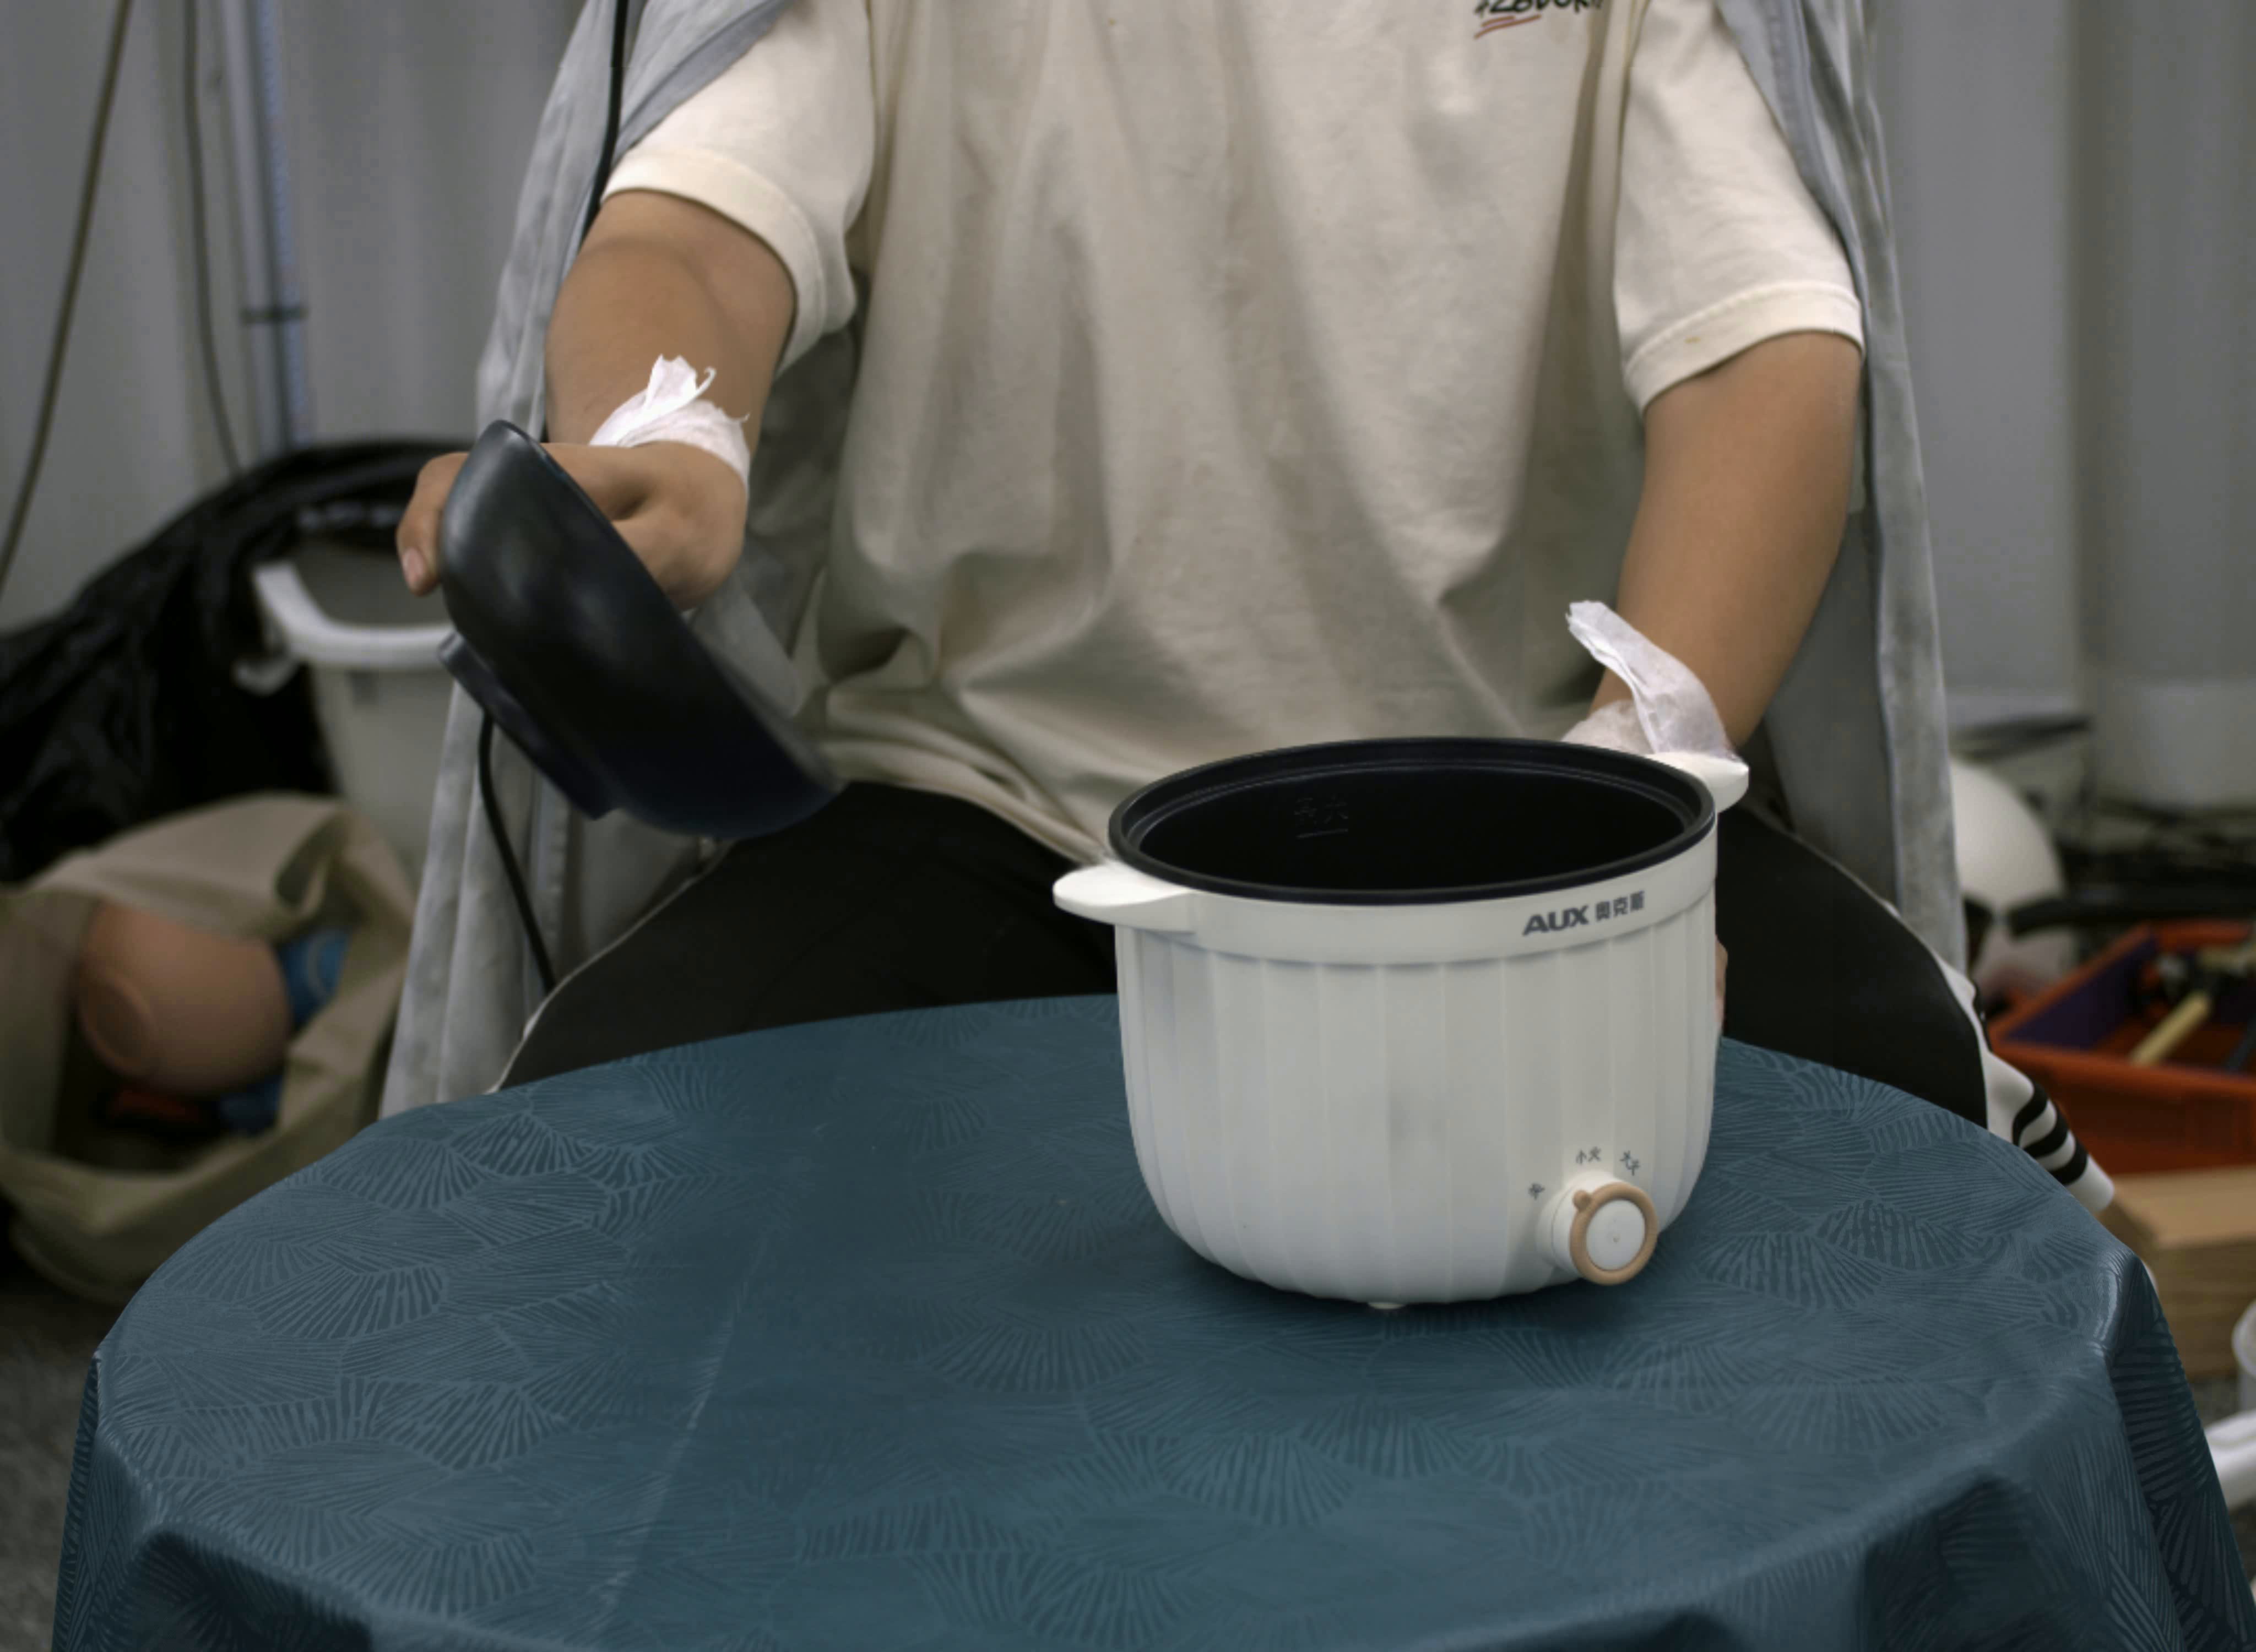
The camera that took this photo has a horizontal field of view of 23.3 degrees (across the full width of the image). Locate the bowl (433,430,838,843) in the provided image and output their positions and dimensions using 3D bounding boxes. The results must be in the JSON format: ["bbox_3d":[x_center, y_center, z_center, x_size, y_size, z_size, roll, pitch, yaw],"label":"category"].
[{"bbox_3d":[-0.158,-0.046,1.604,0.067,0.135,0.172,-41,43,-3],"label":"bowl"}]

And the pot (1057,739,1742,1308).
[{"bbox_3d":[0.091,0.061,1.639,0.239,0.142,0.191,-12,14,-29],"label":"pot"}]
